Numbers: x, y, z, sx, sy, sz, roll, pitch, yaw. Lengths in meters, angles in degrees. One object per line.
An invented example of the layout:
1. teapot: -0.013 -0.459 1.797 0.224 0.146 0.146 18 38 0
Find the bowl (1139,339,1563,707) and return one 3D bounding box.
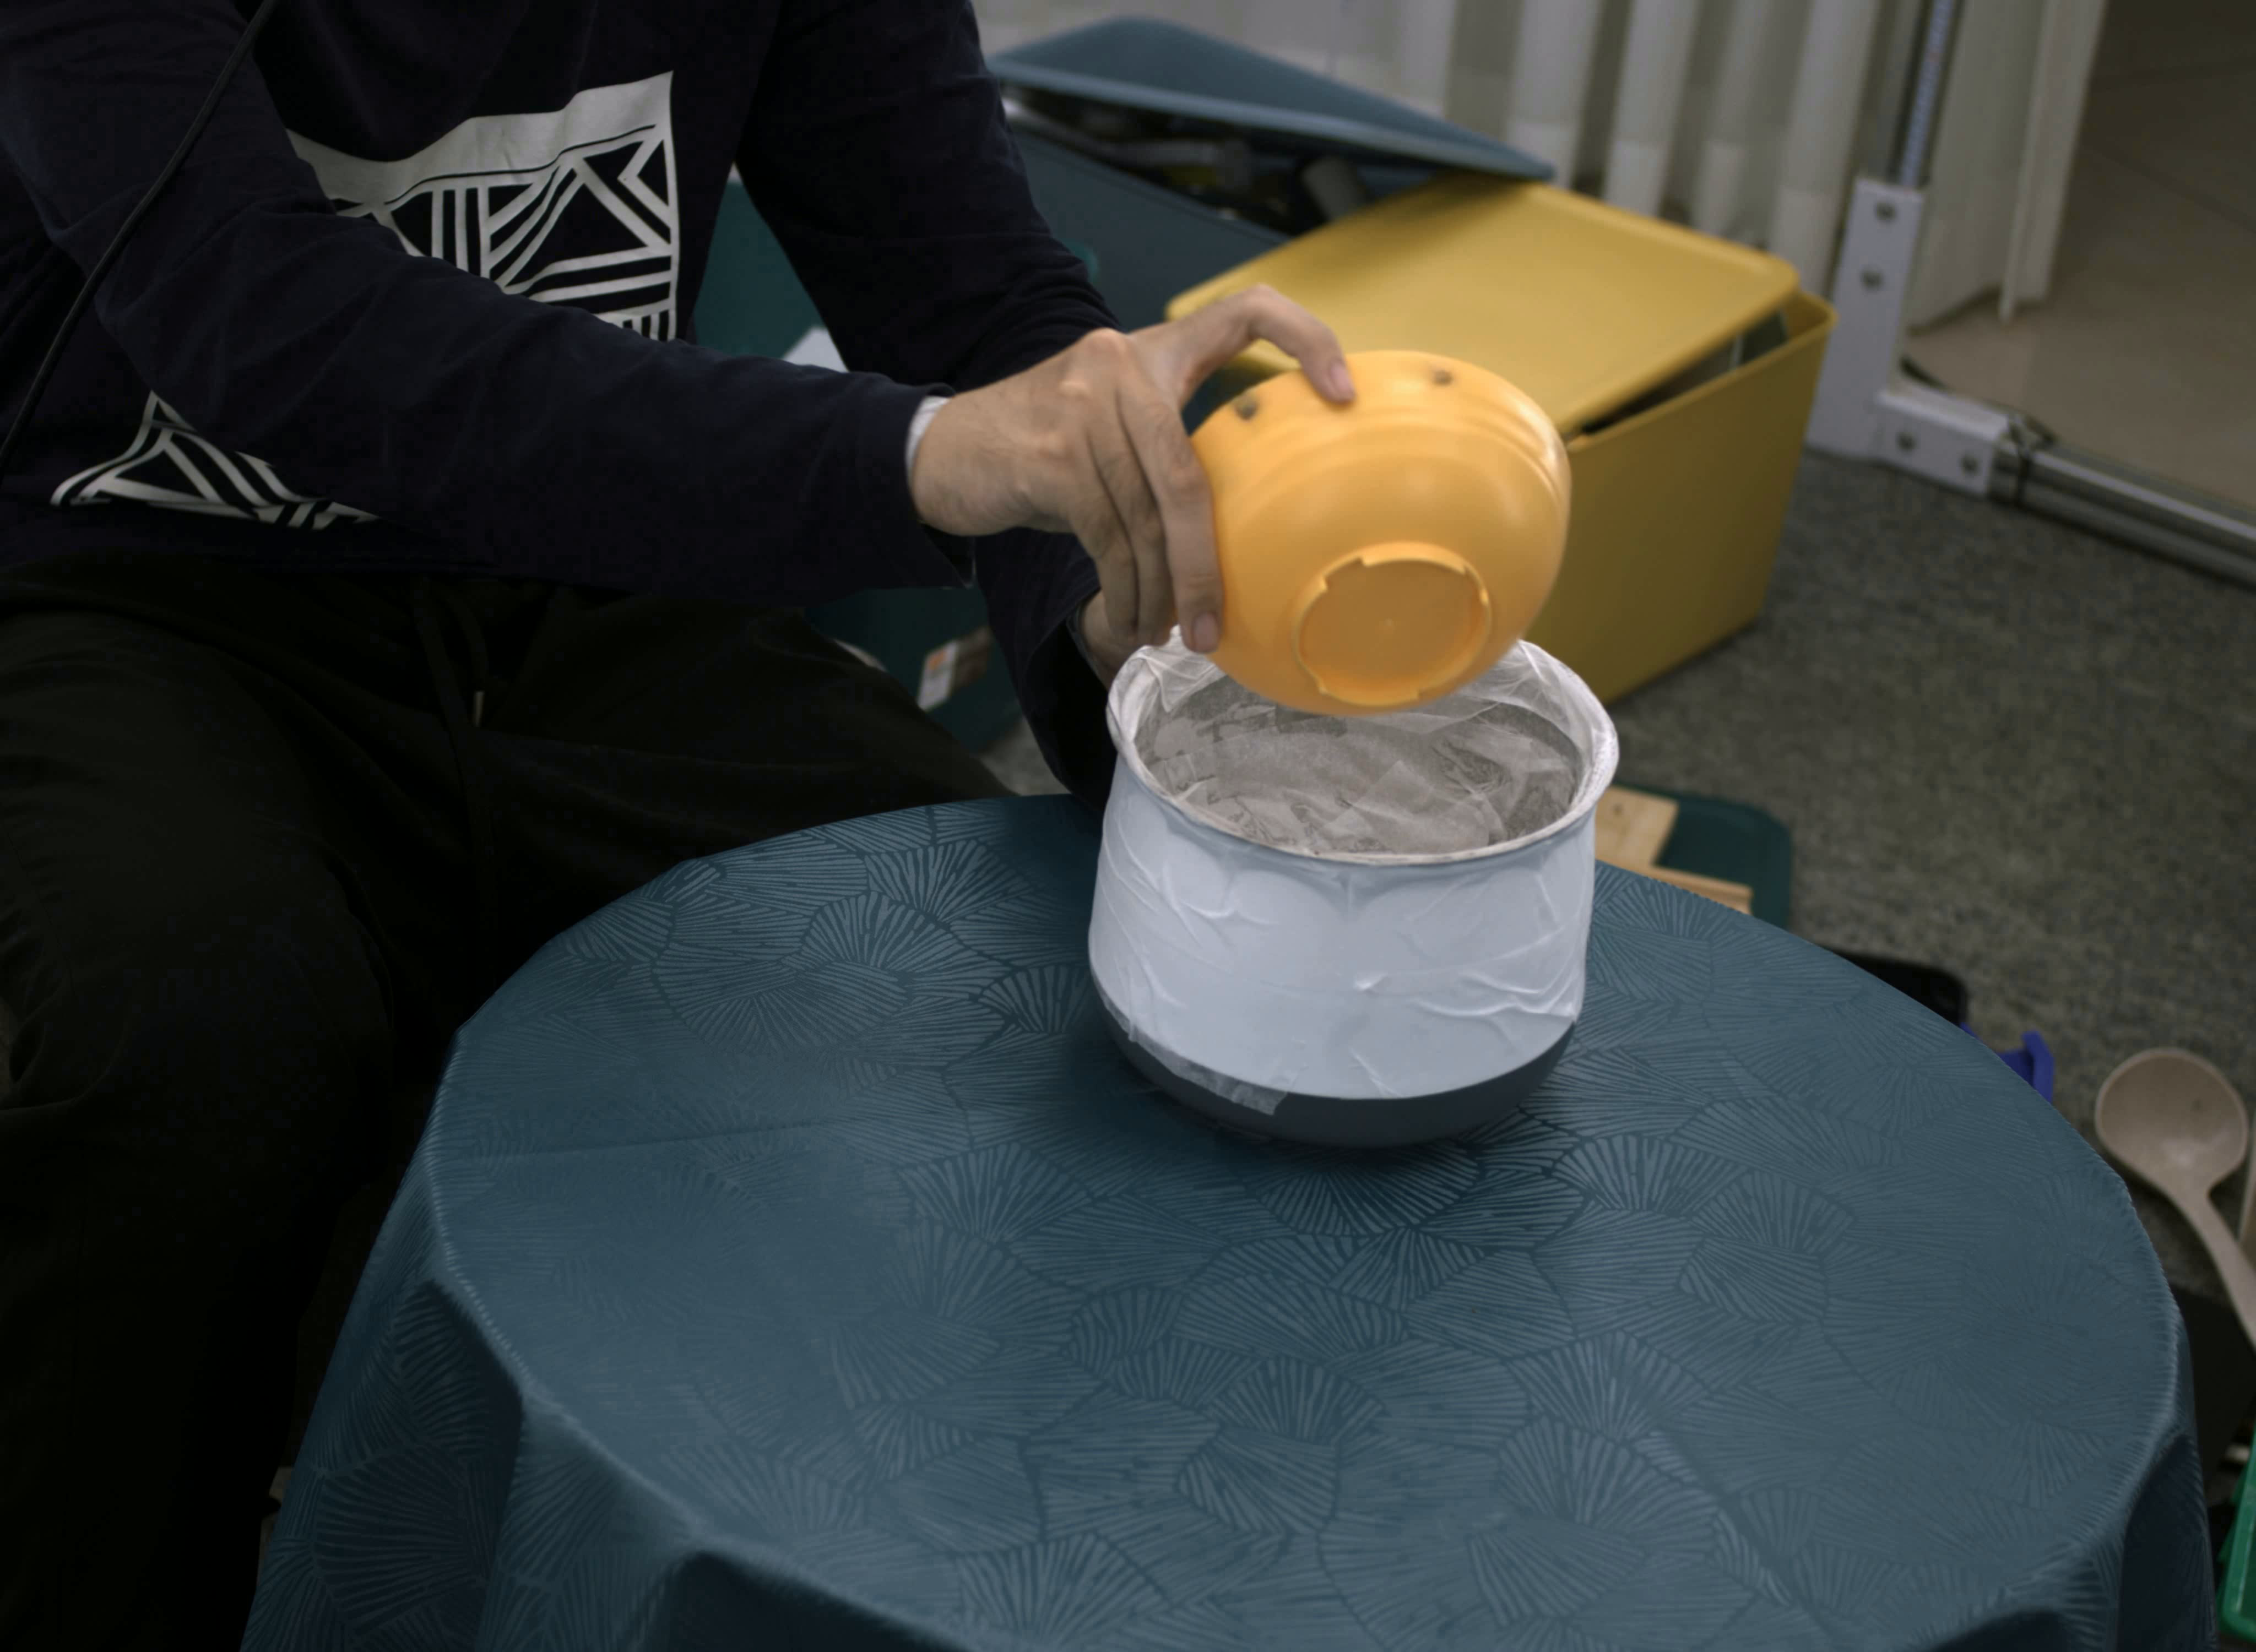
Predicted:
1. bowl: 0.078 -0.086 1.755 0.144 0.144 0.060 1 43 -11

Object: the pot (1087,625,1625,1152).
1. pot: 0.067 0.004 1.887 0.177 0.136 0.236 -5 33 -20
